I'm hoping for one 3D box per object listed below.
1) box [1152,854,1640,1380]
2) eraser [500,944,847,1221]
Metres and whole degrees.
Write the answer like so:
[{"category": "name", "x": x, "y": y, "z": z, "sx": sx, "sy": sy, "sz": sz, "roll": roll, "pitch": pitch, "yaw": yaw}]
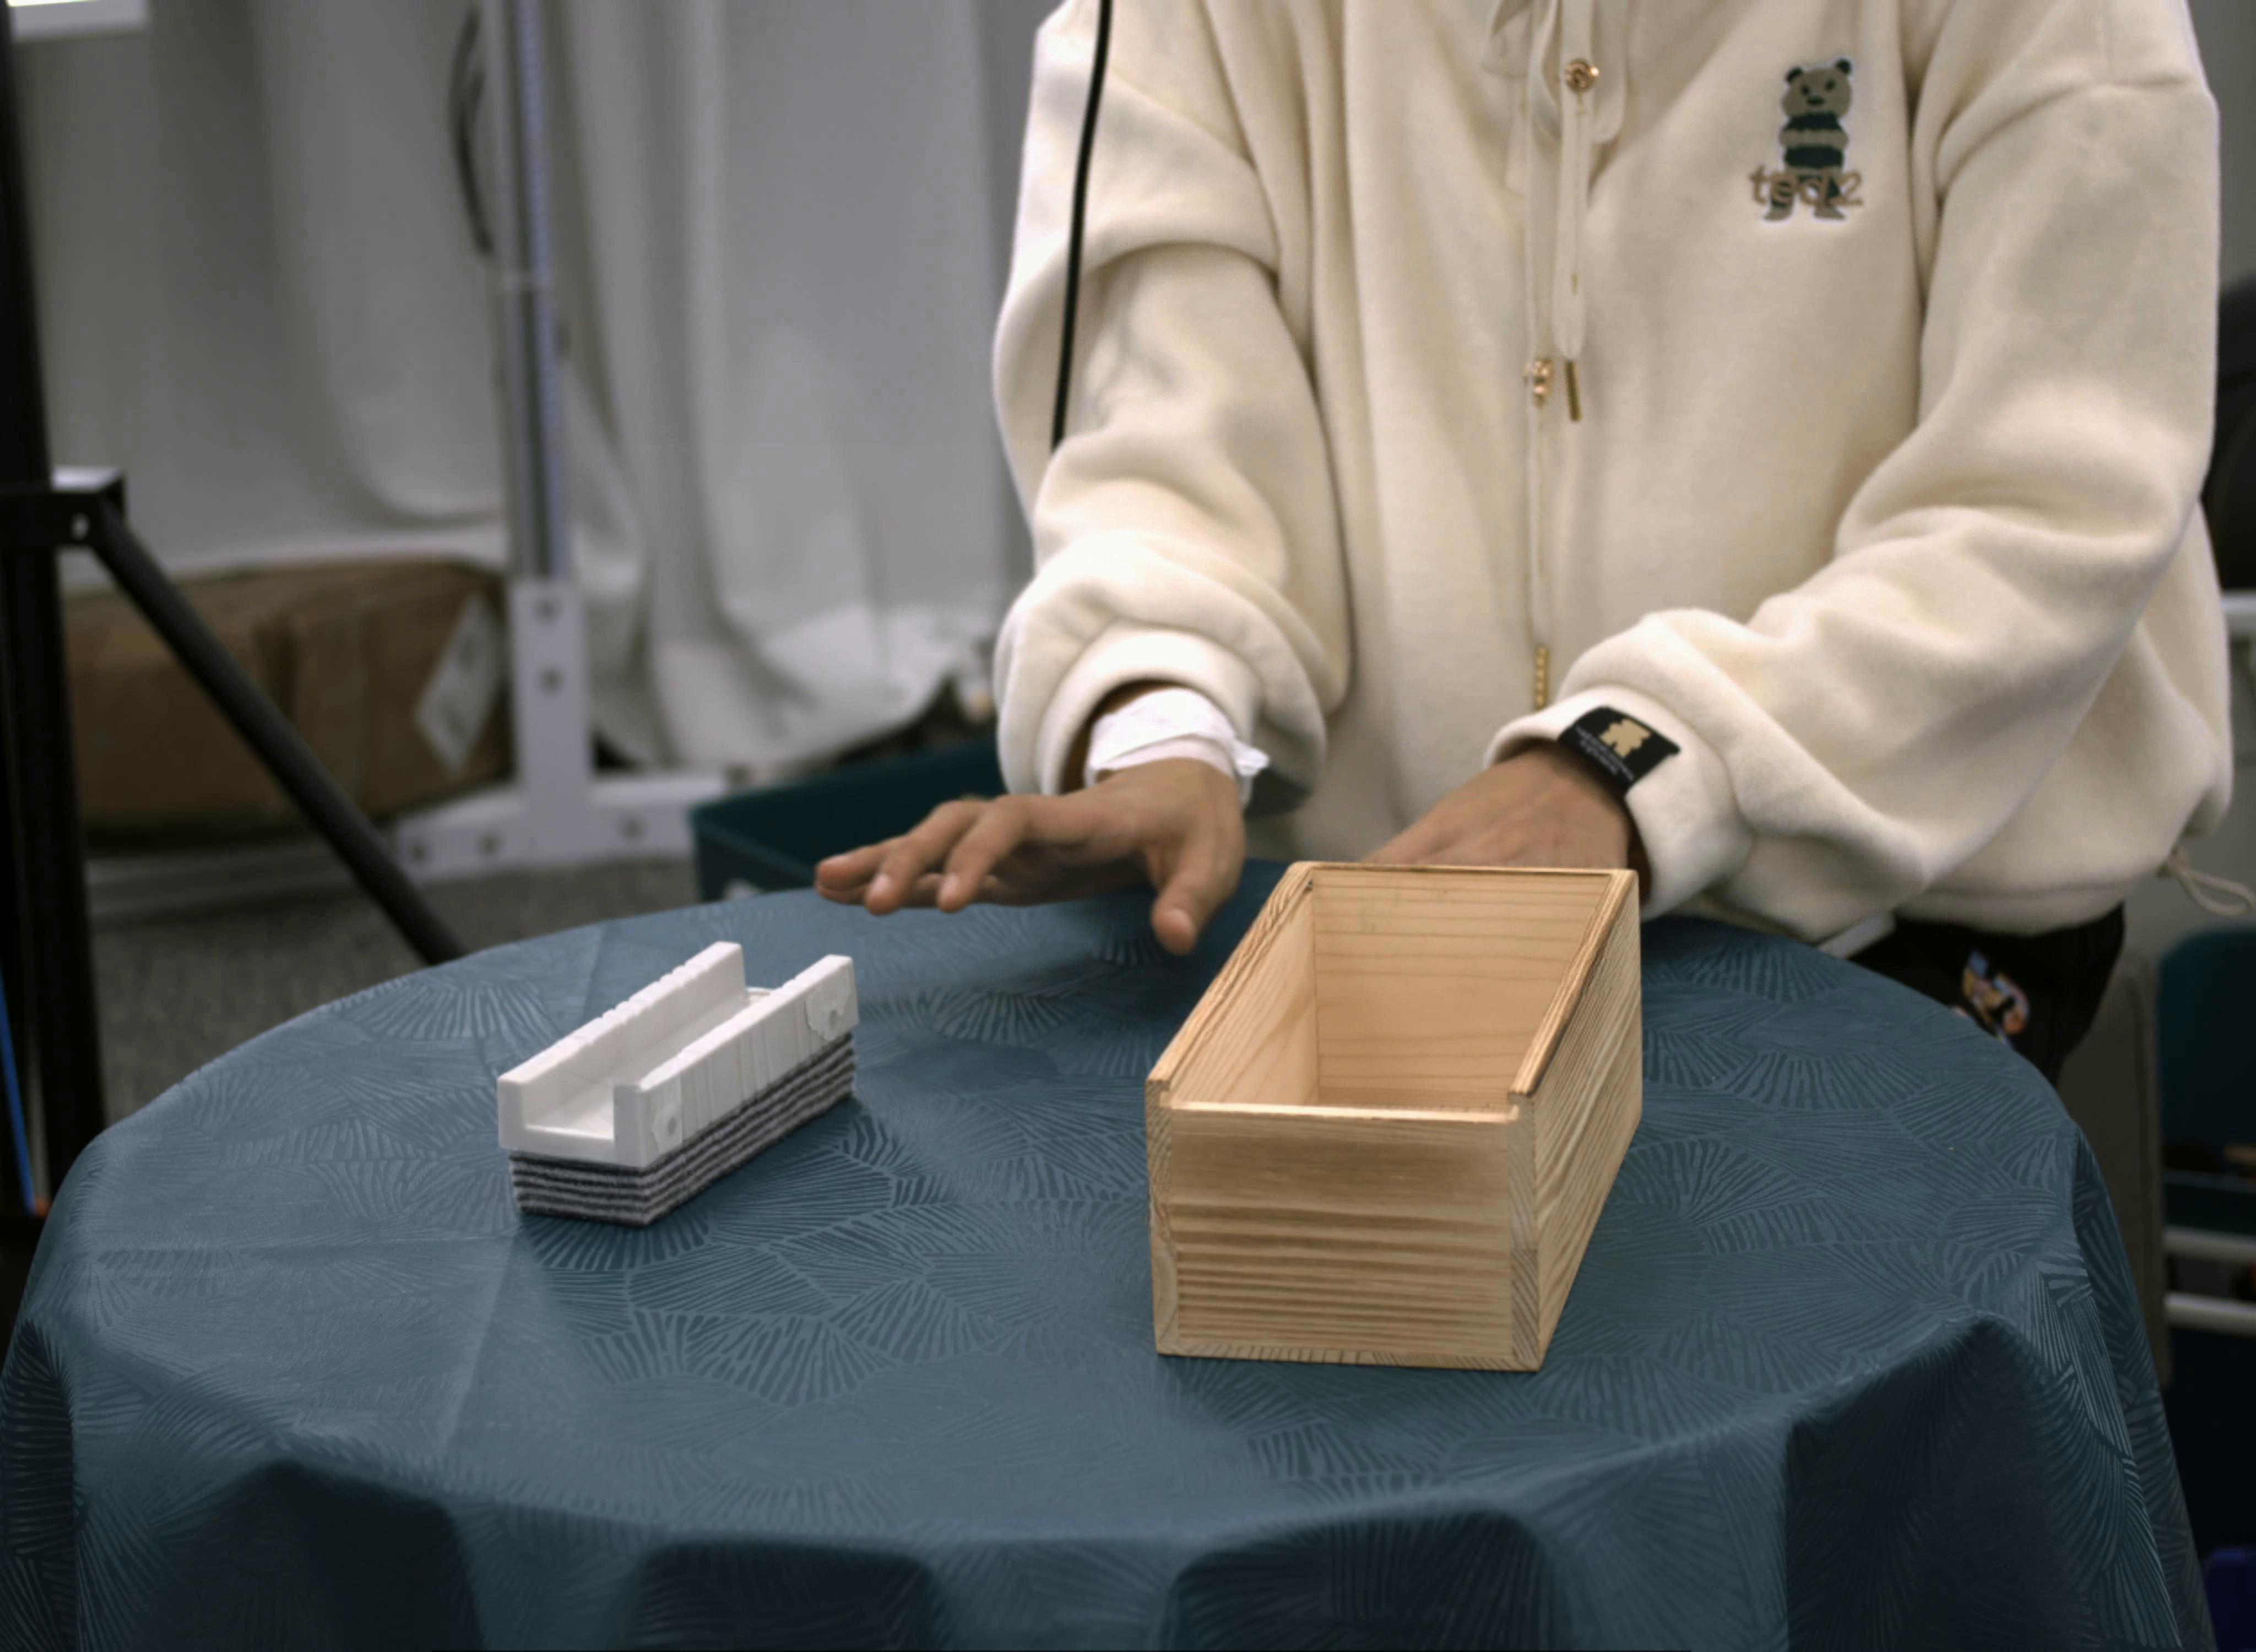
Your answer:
[{"category": "box", "x": 0.080, "y": 0.078, "z": 1.504, "sx": 0.108, "sy": 0.080, "sz": 0.210, "roll": 2, "pitch": 17, "yaw": 12}, {"category": "eraser", "x": -0.135, "y": 0.076, "z": 1.607, "sx": 0.050, "sy": 0.046, "sz": 0.132, "roll": 2, "pitch": 18, "yaw": 24}]
